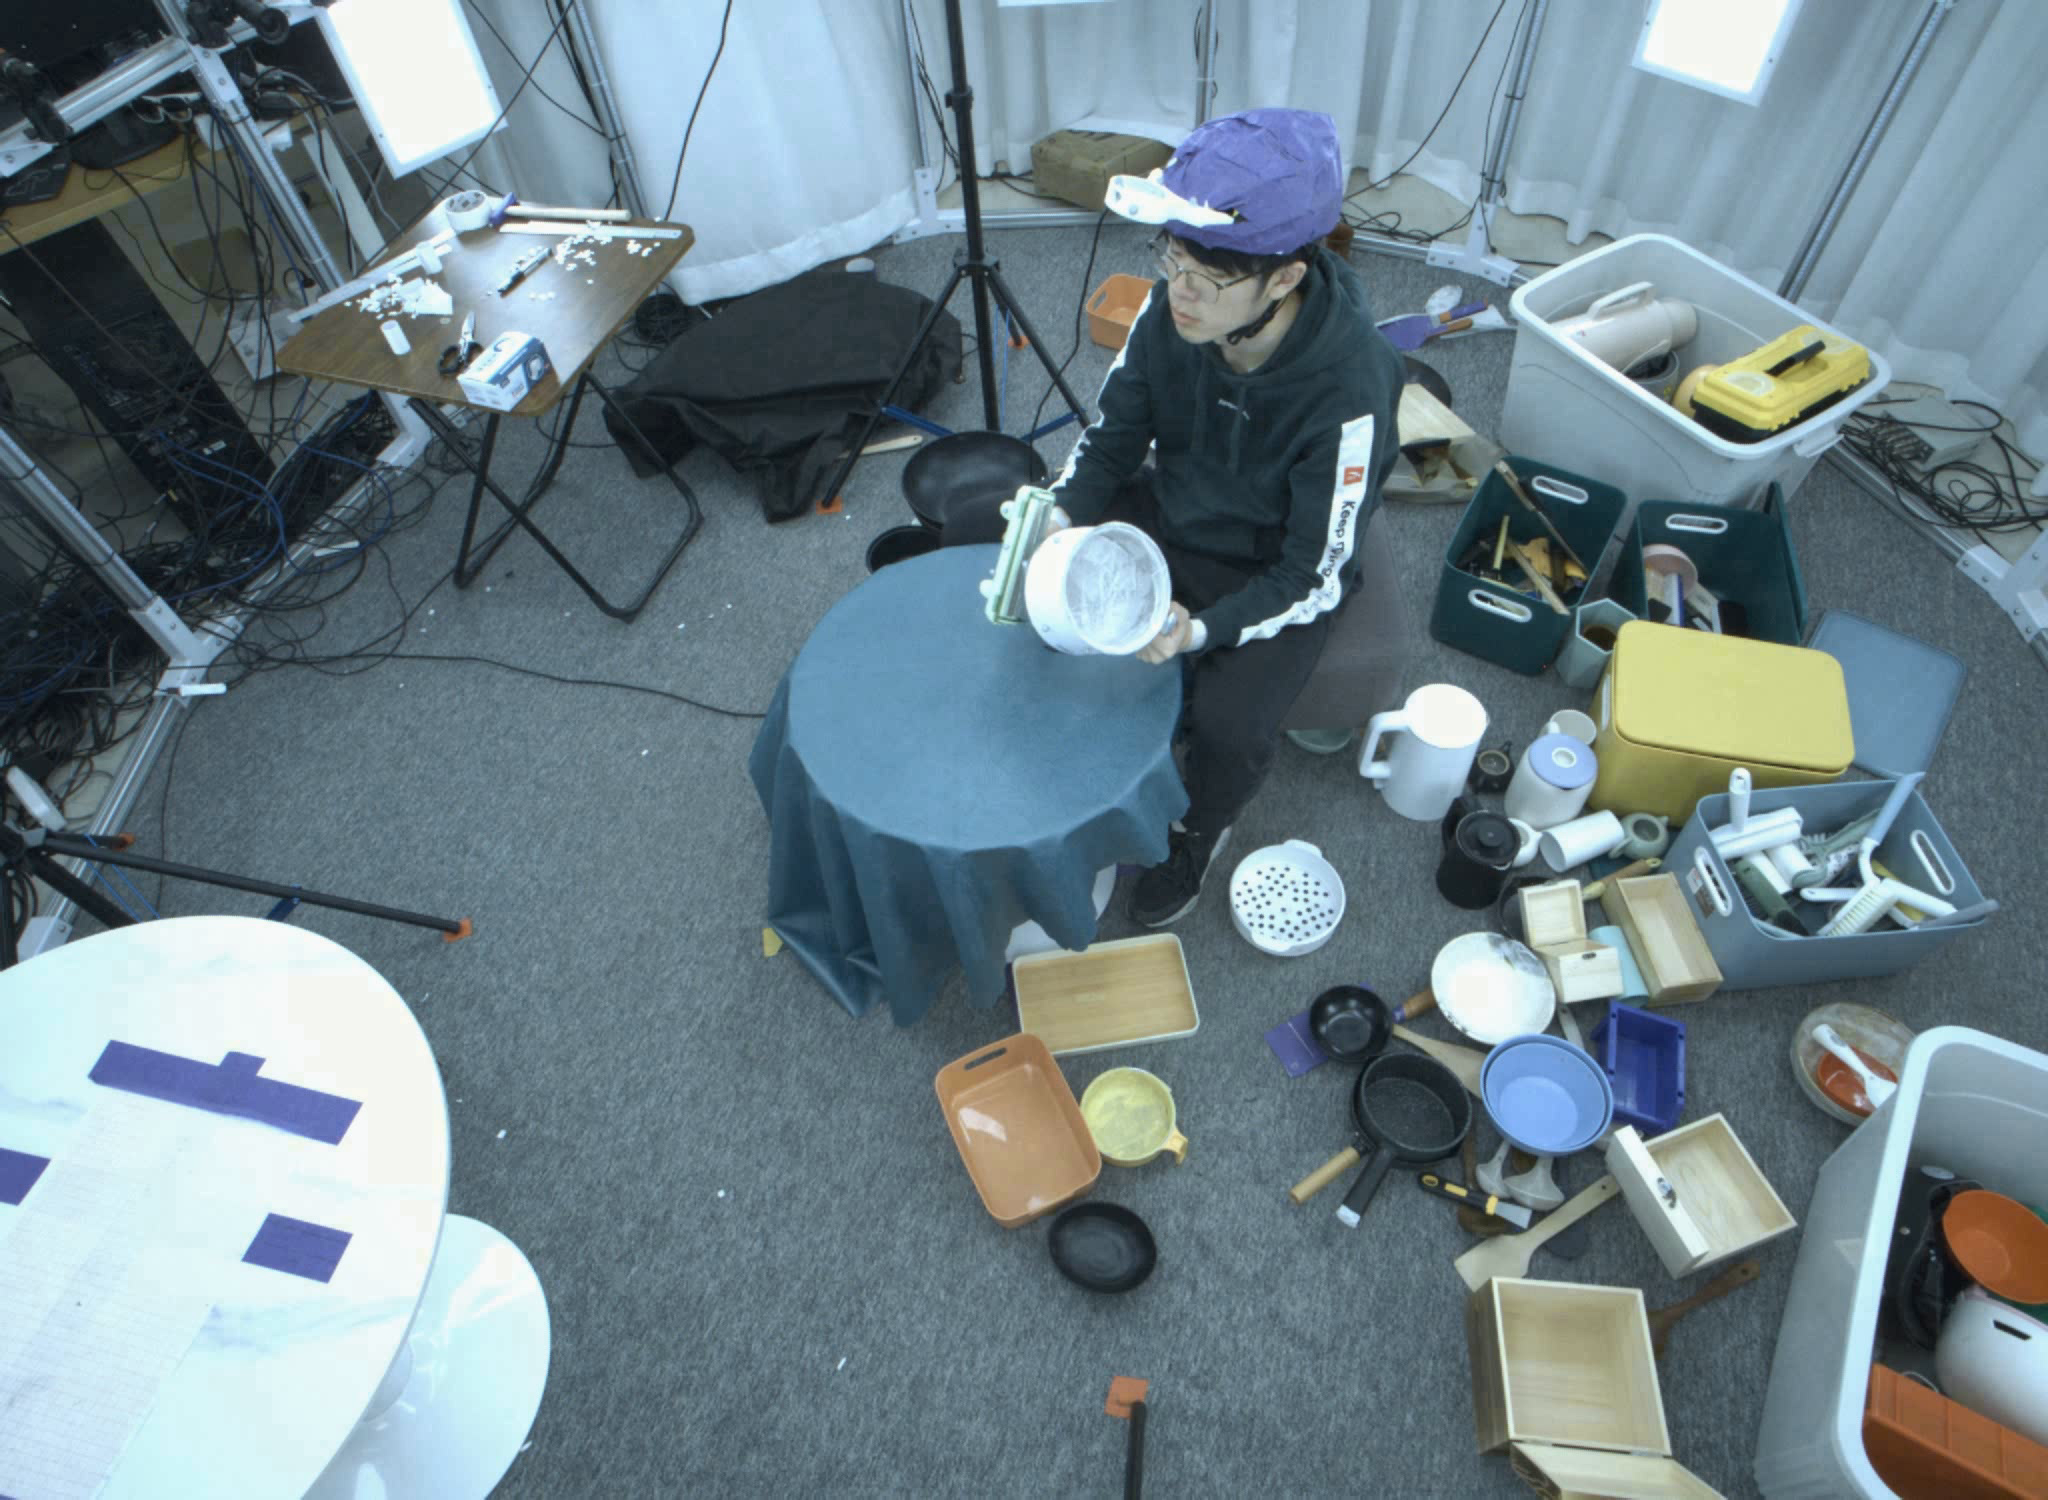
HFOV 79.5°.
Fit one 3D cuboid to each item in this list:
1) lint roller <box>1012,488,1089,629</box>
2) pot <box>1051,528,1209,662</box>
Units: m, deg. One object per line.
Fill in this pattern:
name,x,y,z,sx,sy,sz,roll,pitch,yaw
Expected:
lint roller,0.044,-0.283,1.776,0.082,0.199,0.184,19,17,6
pot,0.158,-0.201,1.694,0.134,0.239,0.178,11,79,59
